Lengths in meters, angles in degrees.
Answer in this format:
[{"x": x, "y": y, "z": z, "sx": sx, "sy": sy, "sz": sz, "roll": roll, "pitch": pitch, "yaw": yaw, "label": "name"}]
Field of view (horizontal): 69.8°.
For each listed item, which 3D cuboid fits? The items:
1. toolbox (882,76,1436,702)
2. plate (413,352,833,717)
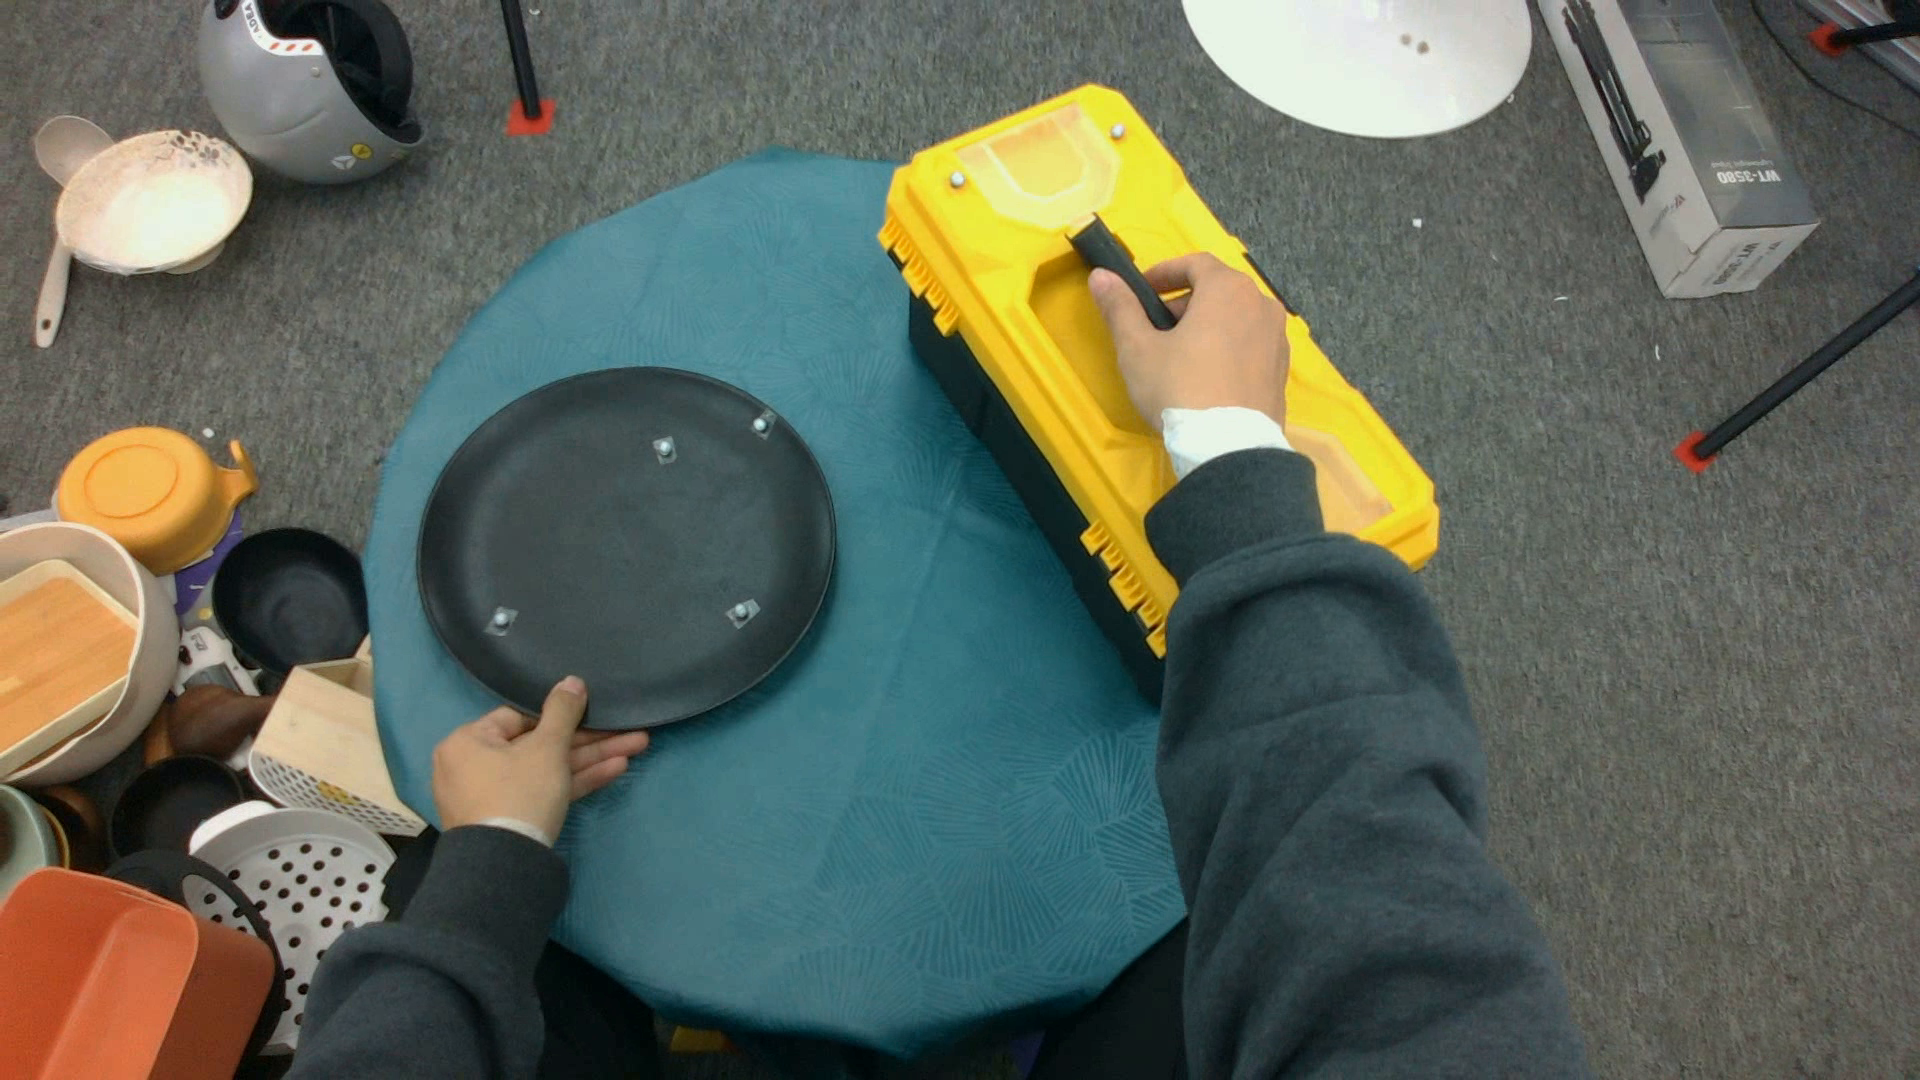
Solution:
[{"x": 0.103, "y": -0.088, "z": 0.816, "sx": 0.182, "sy": 0.172, "sz": 0.352, "roll": -25, "pitch": 69, "yaw": -16, "label": "toolbox"}, {"x": -0.199, "y": -0.006, "z": 0.828, "sx": 0.244, "sy": 0.023, "sz": 0.245, "roll": 3, "pitch": 63, "yaw": -5, "label": "plate"}]
